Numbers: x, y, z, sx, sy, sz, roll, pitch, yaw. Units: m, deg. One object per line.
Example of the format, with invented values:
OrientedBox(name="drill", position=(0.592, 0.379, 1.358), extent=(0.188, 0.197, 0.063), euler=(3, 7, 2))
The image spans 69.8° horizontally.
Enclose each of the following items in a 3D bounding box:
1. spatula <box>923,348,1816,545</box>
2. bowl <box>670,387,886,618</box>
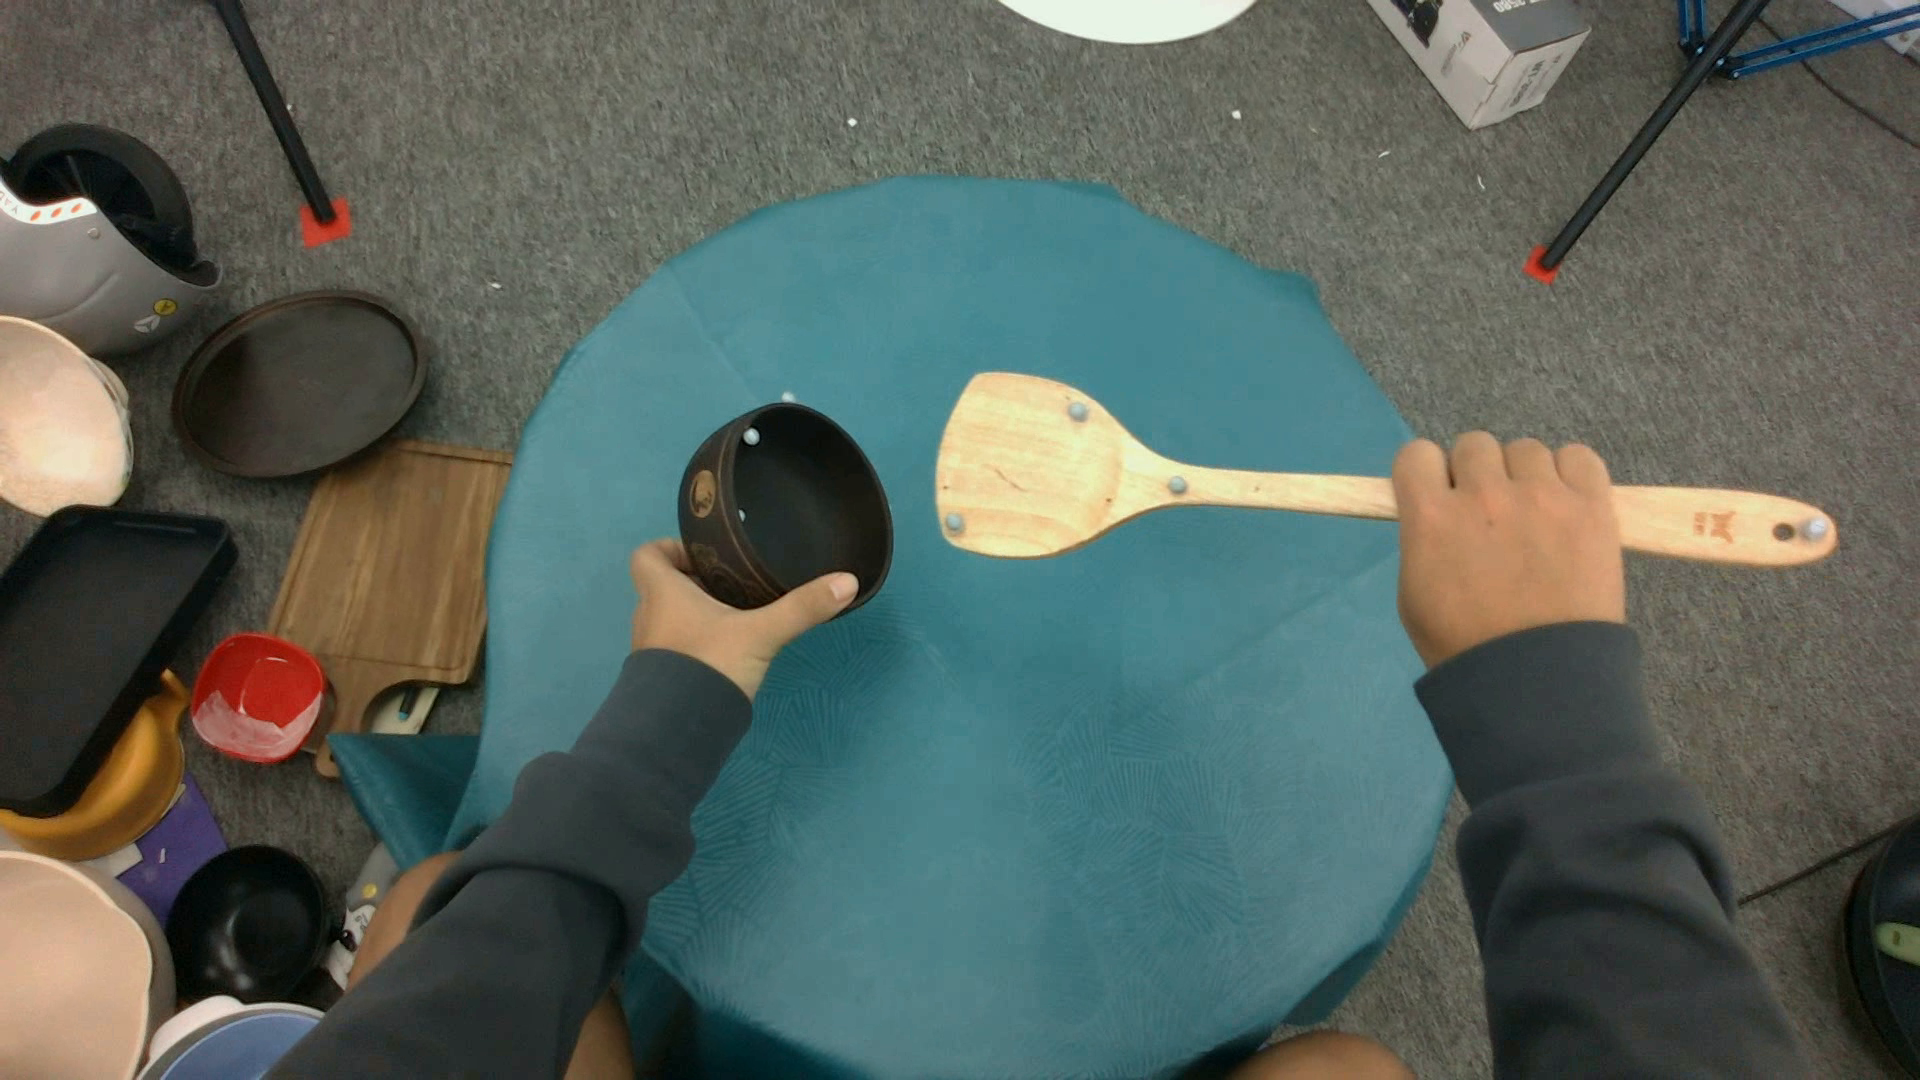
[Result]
OrientedBox(name="spatula", position=(0.163, -0.033, 0.624), extent=(0.390, 0.018, 0.096), euler=(5, 83, 24))
OrientedBox(name="bowl", position=(-0.102, -0.015, 0.717), extent=(0.118, 0.069, 0.118), euler=(27, 53, -44))
